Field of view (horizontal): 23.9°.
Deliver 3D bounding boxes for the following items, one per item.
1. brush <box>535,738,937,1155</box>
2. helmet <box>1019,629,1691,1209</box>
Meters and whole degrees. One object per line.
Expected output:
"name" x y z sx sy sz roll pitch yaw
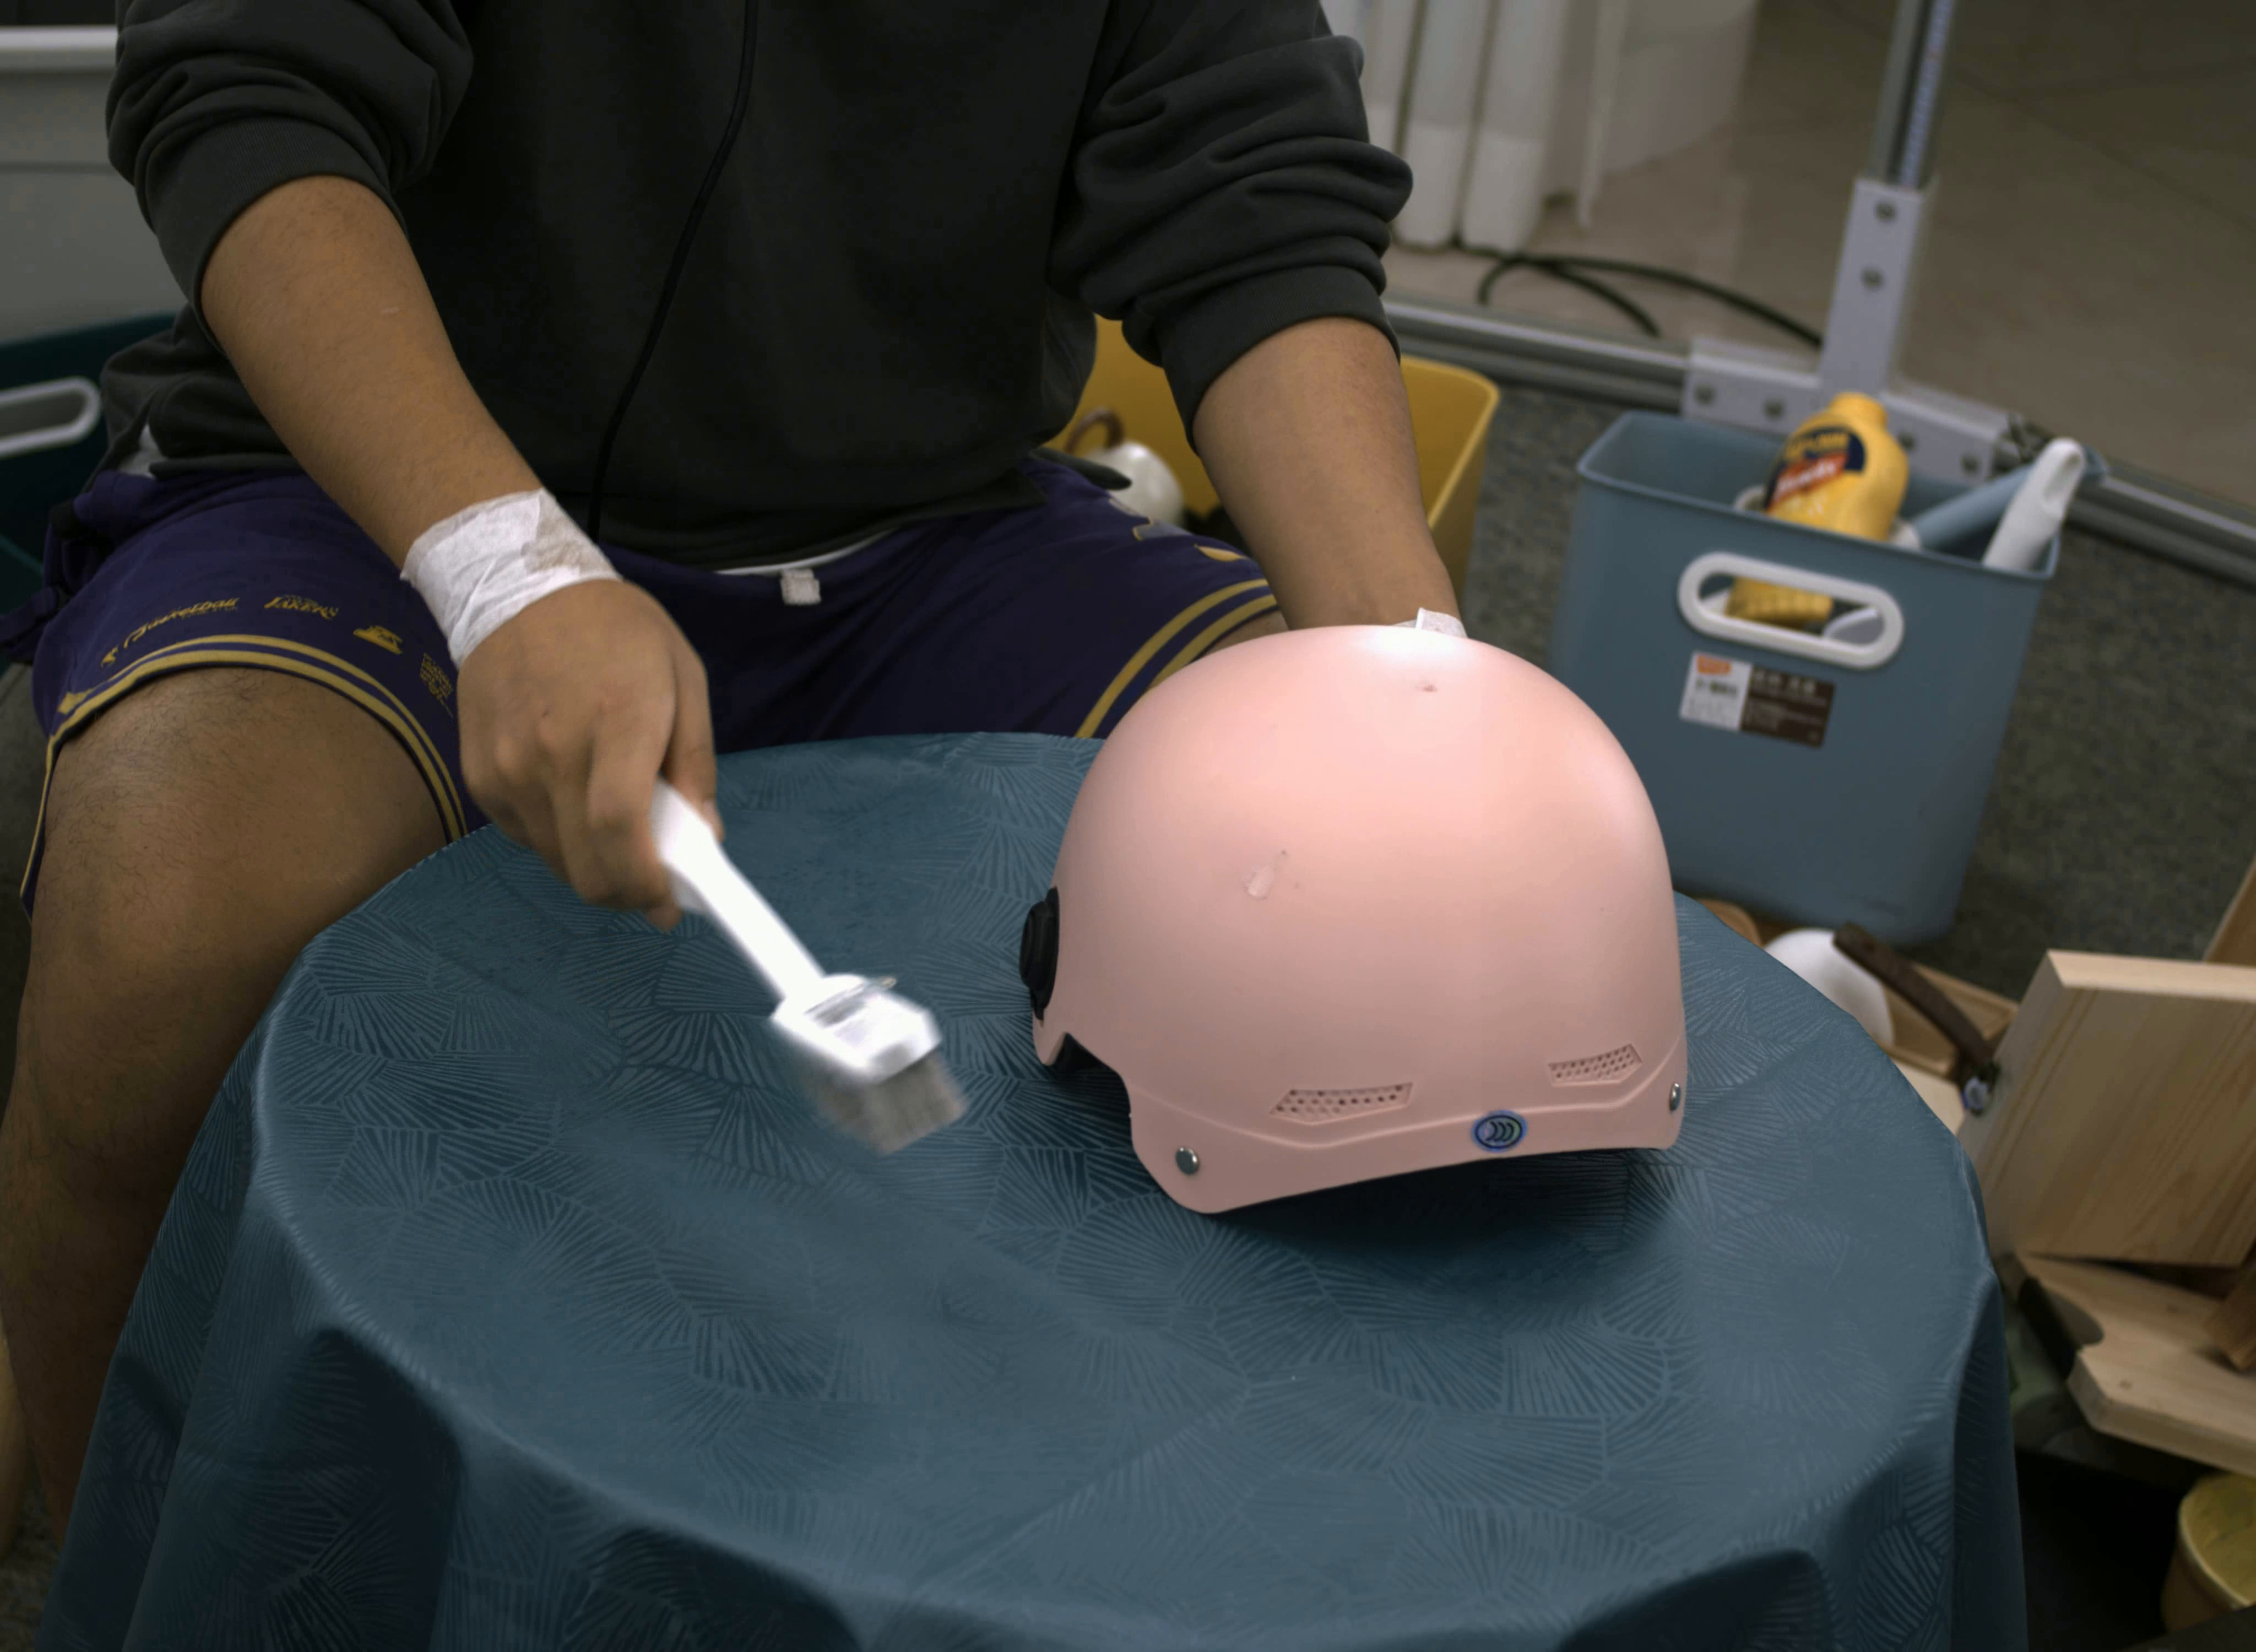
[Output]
"brush" -0.132 0.040 1.753 0.034 0.050 0.246 -27 37 -18
"helmet" 0.080 0.011 1.857 0.233 0.158 0.268 -8 27 -15
